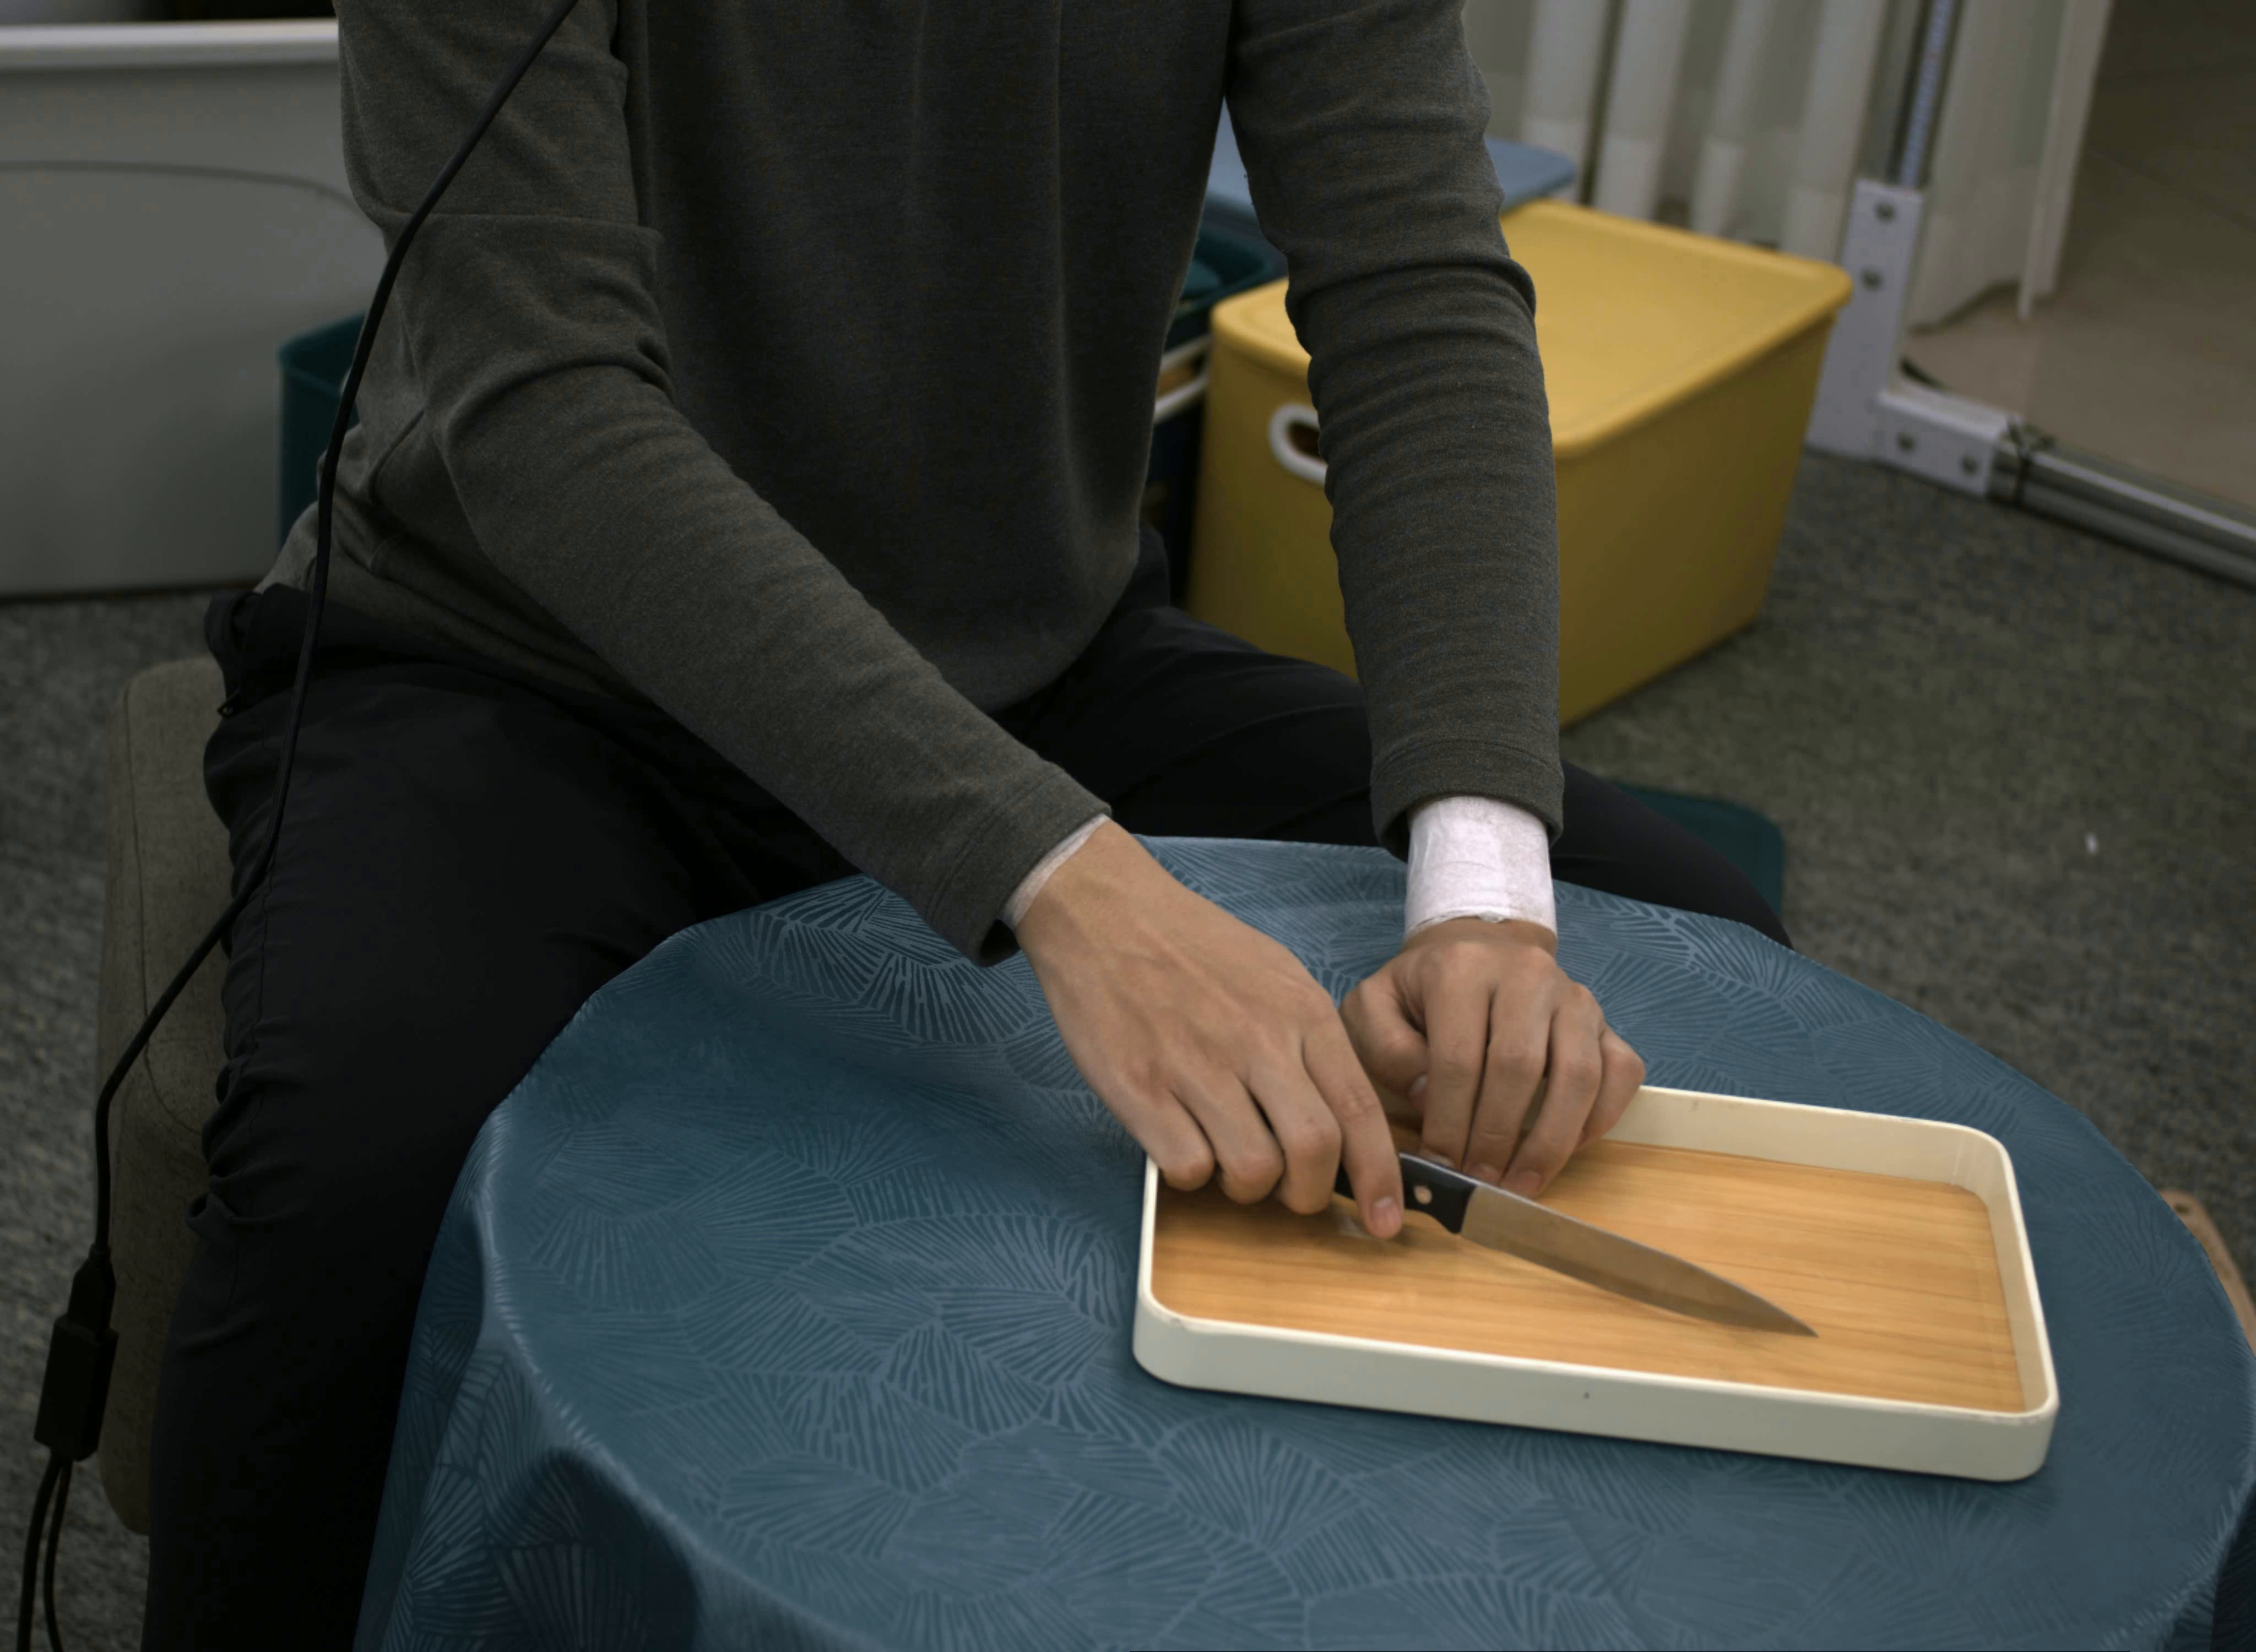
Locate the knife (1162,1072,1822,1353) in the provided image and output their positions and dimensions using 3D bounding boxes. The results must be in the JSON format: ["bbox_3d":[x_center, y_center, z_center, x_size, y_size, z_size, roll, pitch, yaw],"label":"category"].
[{"bbox_3d":[0.121,0.129,1.771,0.239,0.024,0.016,21,28,17],"label":"knife"}]

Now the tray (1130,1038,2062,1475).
[{"bbox_3d":[0.153,0.142,1.776,0.299,0.027,0.192,7,26,0],"label":"tray"}]
